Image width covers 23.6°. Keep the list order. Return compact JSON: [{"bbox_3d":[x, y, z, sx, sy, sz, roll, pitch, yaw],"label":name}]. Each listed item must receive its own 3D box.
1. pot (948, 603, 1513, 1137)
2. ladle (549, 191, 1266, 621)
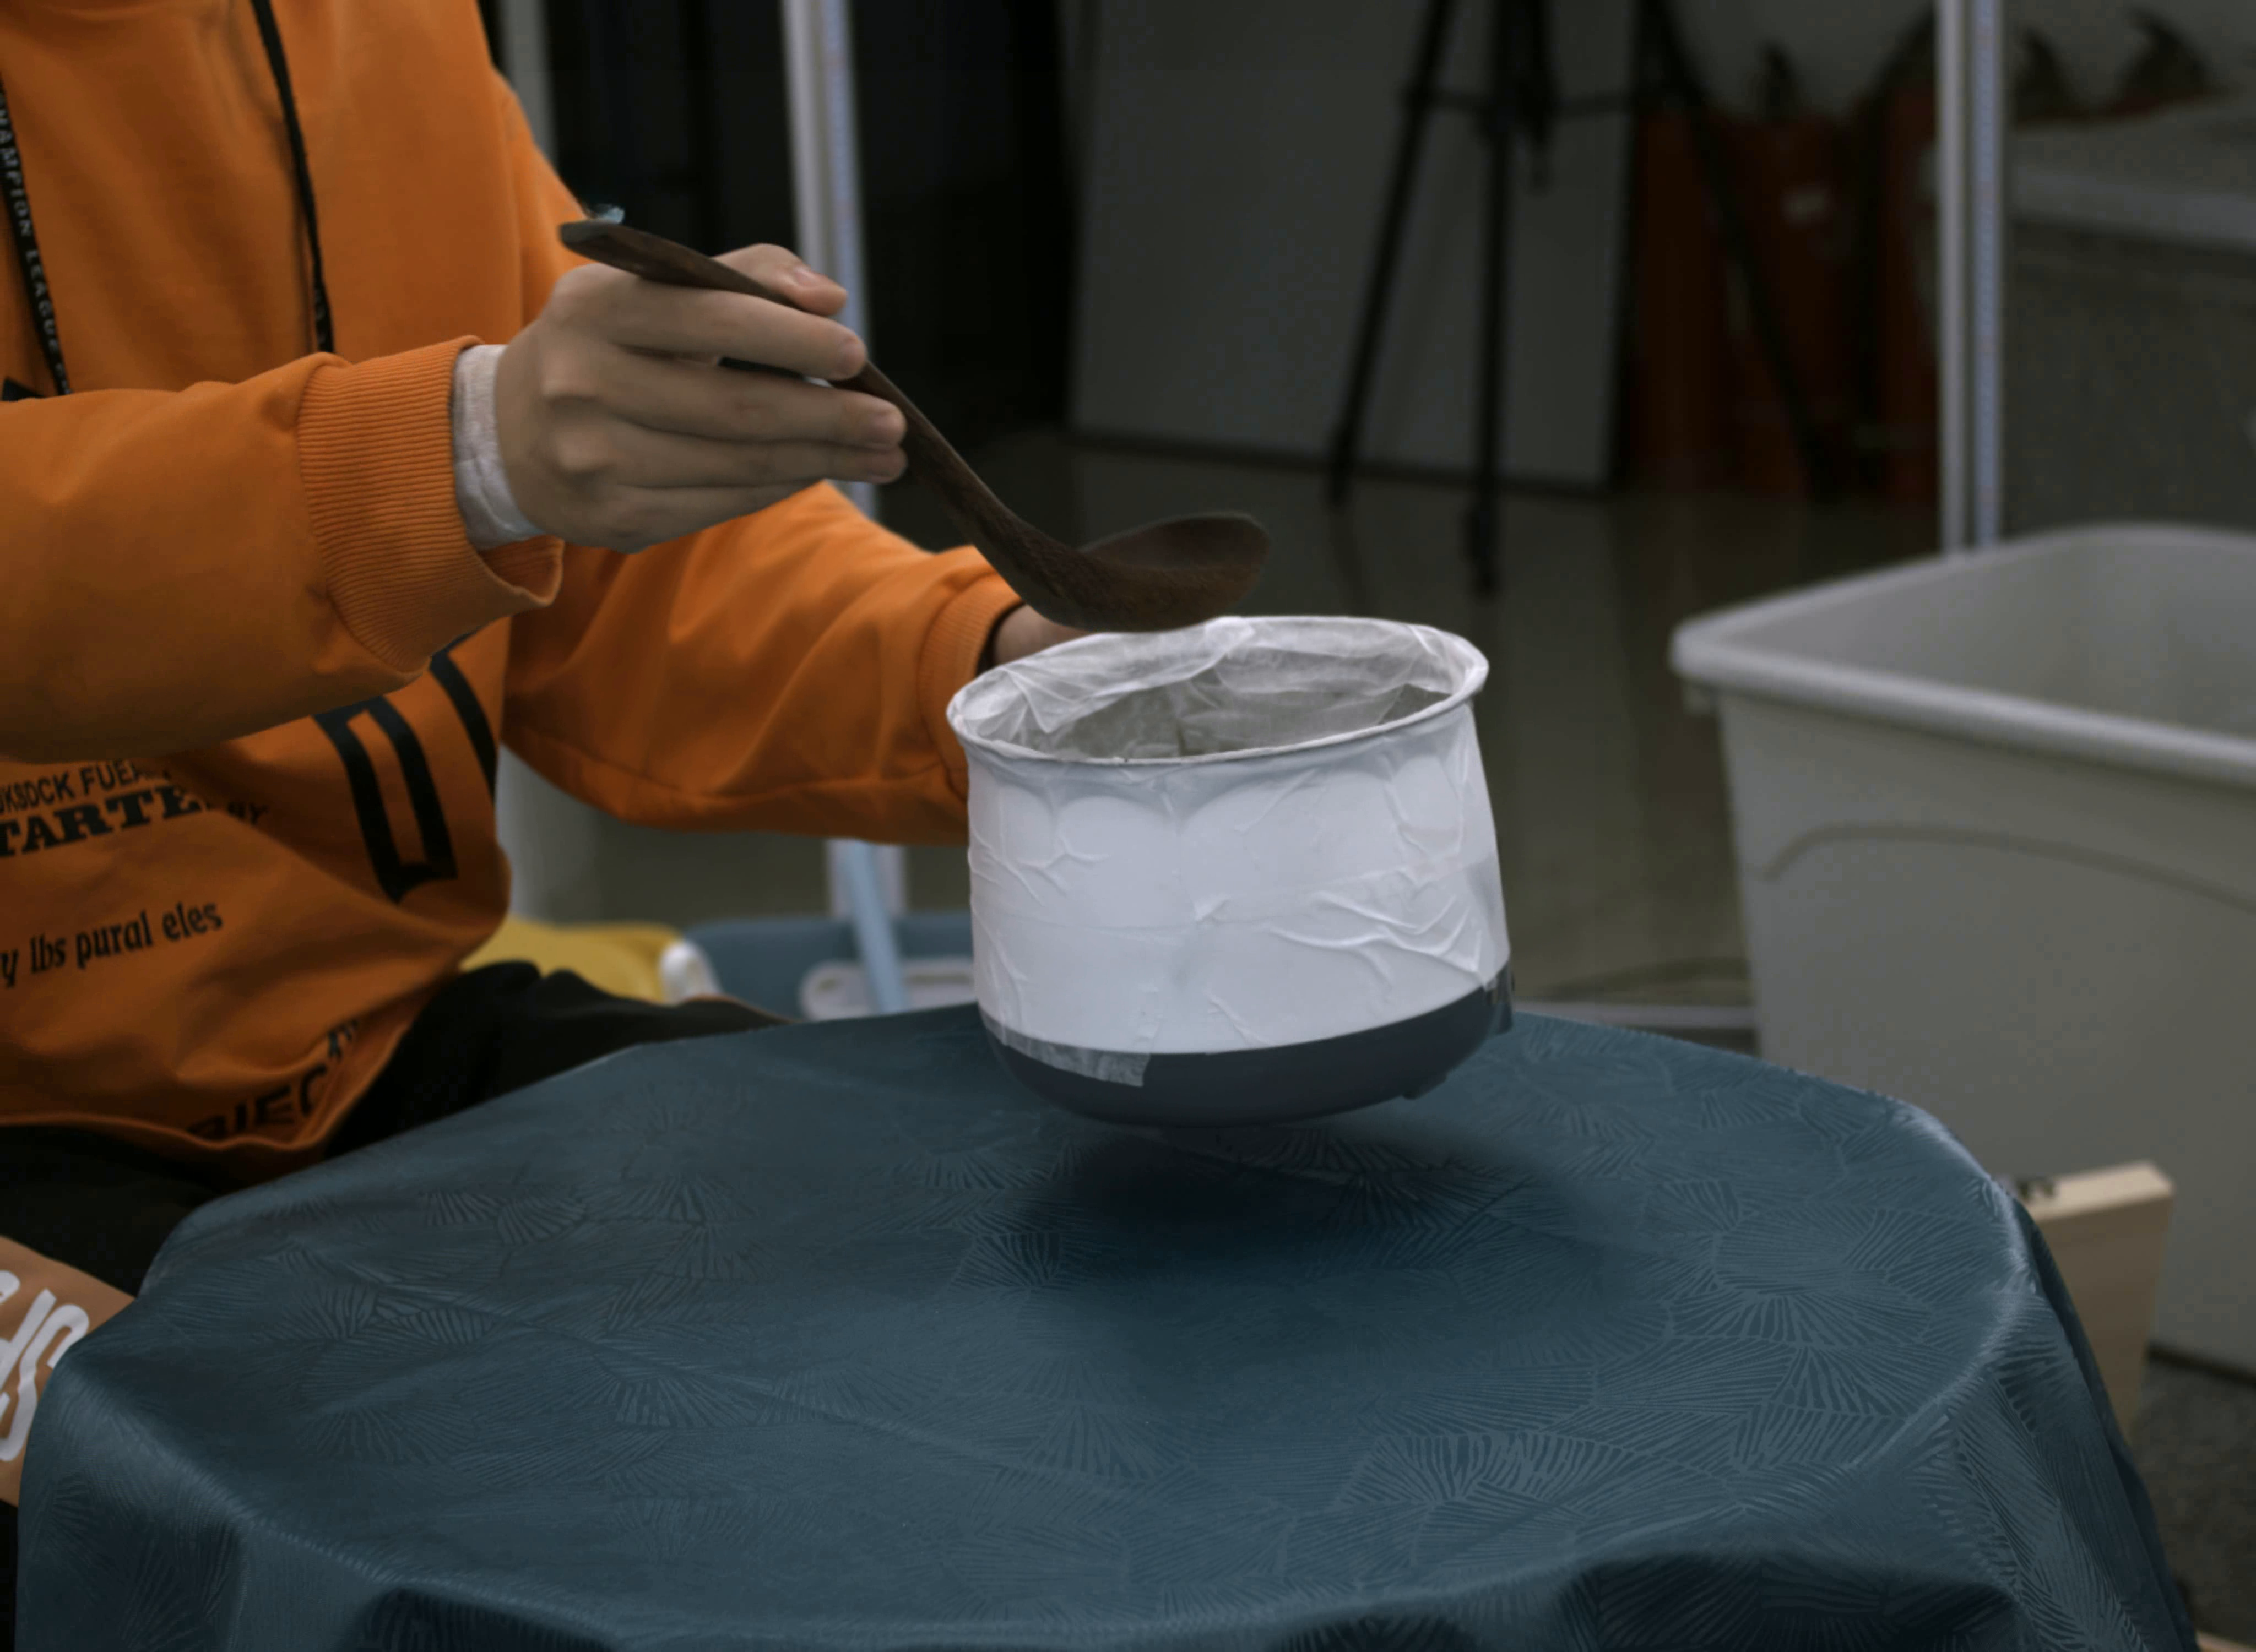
[{"bbox_3d":[0.029,0.007,1.777,0.175,0.138,0.235,-8,15,-10],"label":"pot"},{"bbox_3d":[-0.062,-0.140,1.637,0.077,0.072,0.270,-2,-31,48],"label":"ladle"}]
